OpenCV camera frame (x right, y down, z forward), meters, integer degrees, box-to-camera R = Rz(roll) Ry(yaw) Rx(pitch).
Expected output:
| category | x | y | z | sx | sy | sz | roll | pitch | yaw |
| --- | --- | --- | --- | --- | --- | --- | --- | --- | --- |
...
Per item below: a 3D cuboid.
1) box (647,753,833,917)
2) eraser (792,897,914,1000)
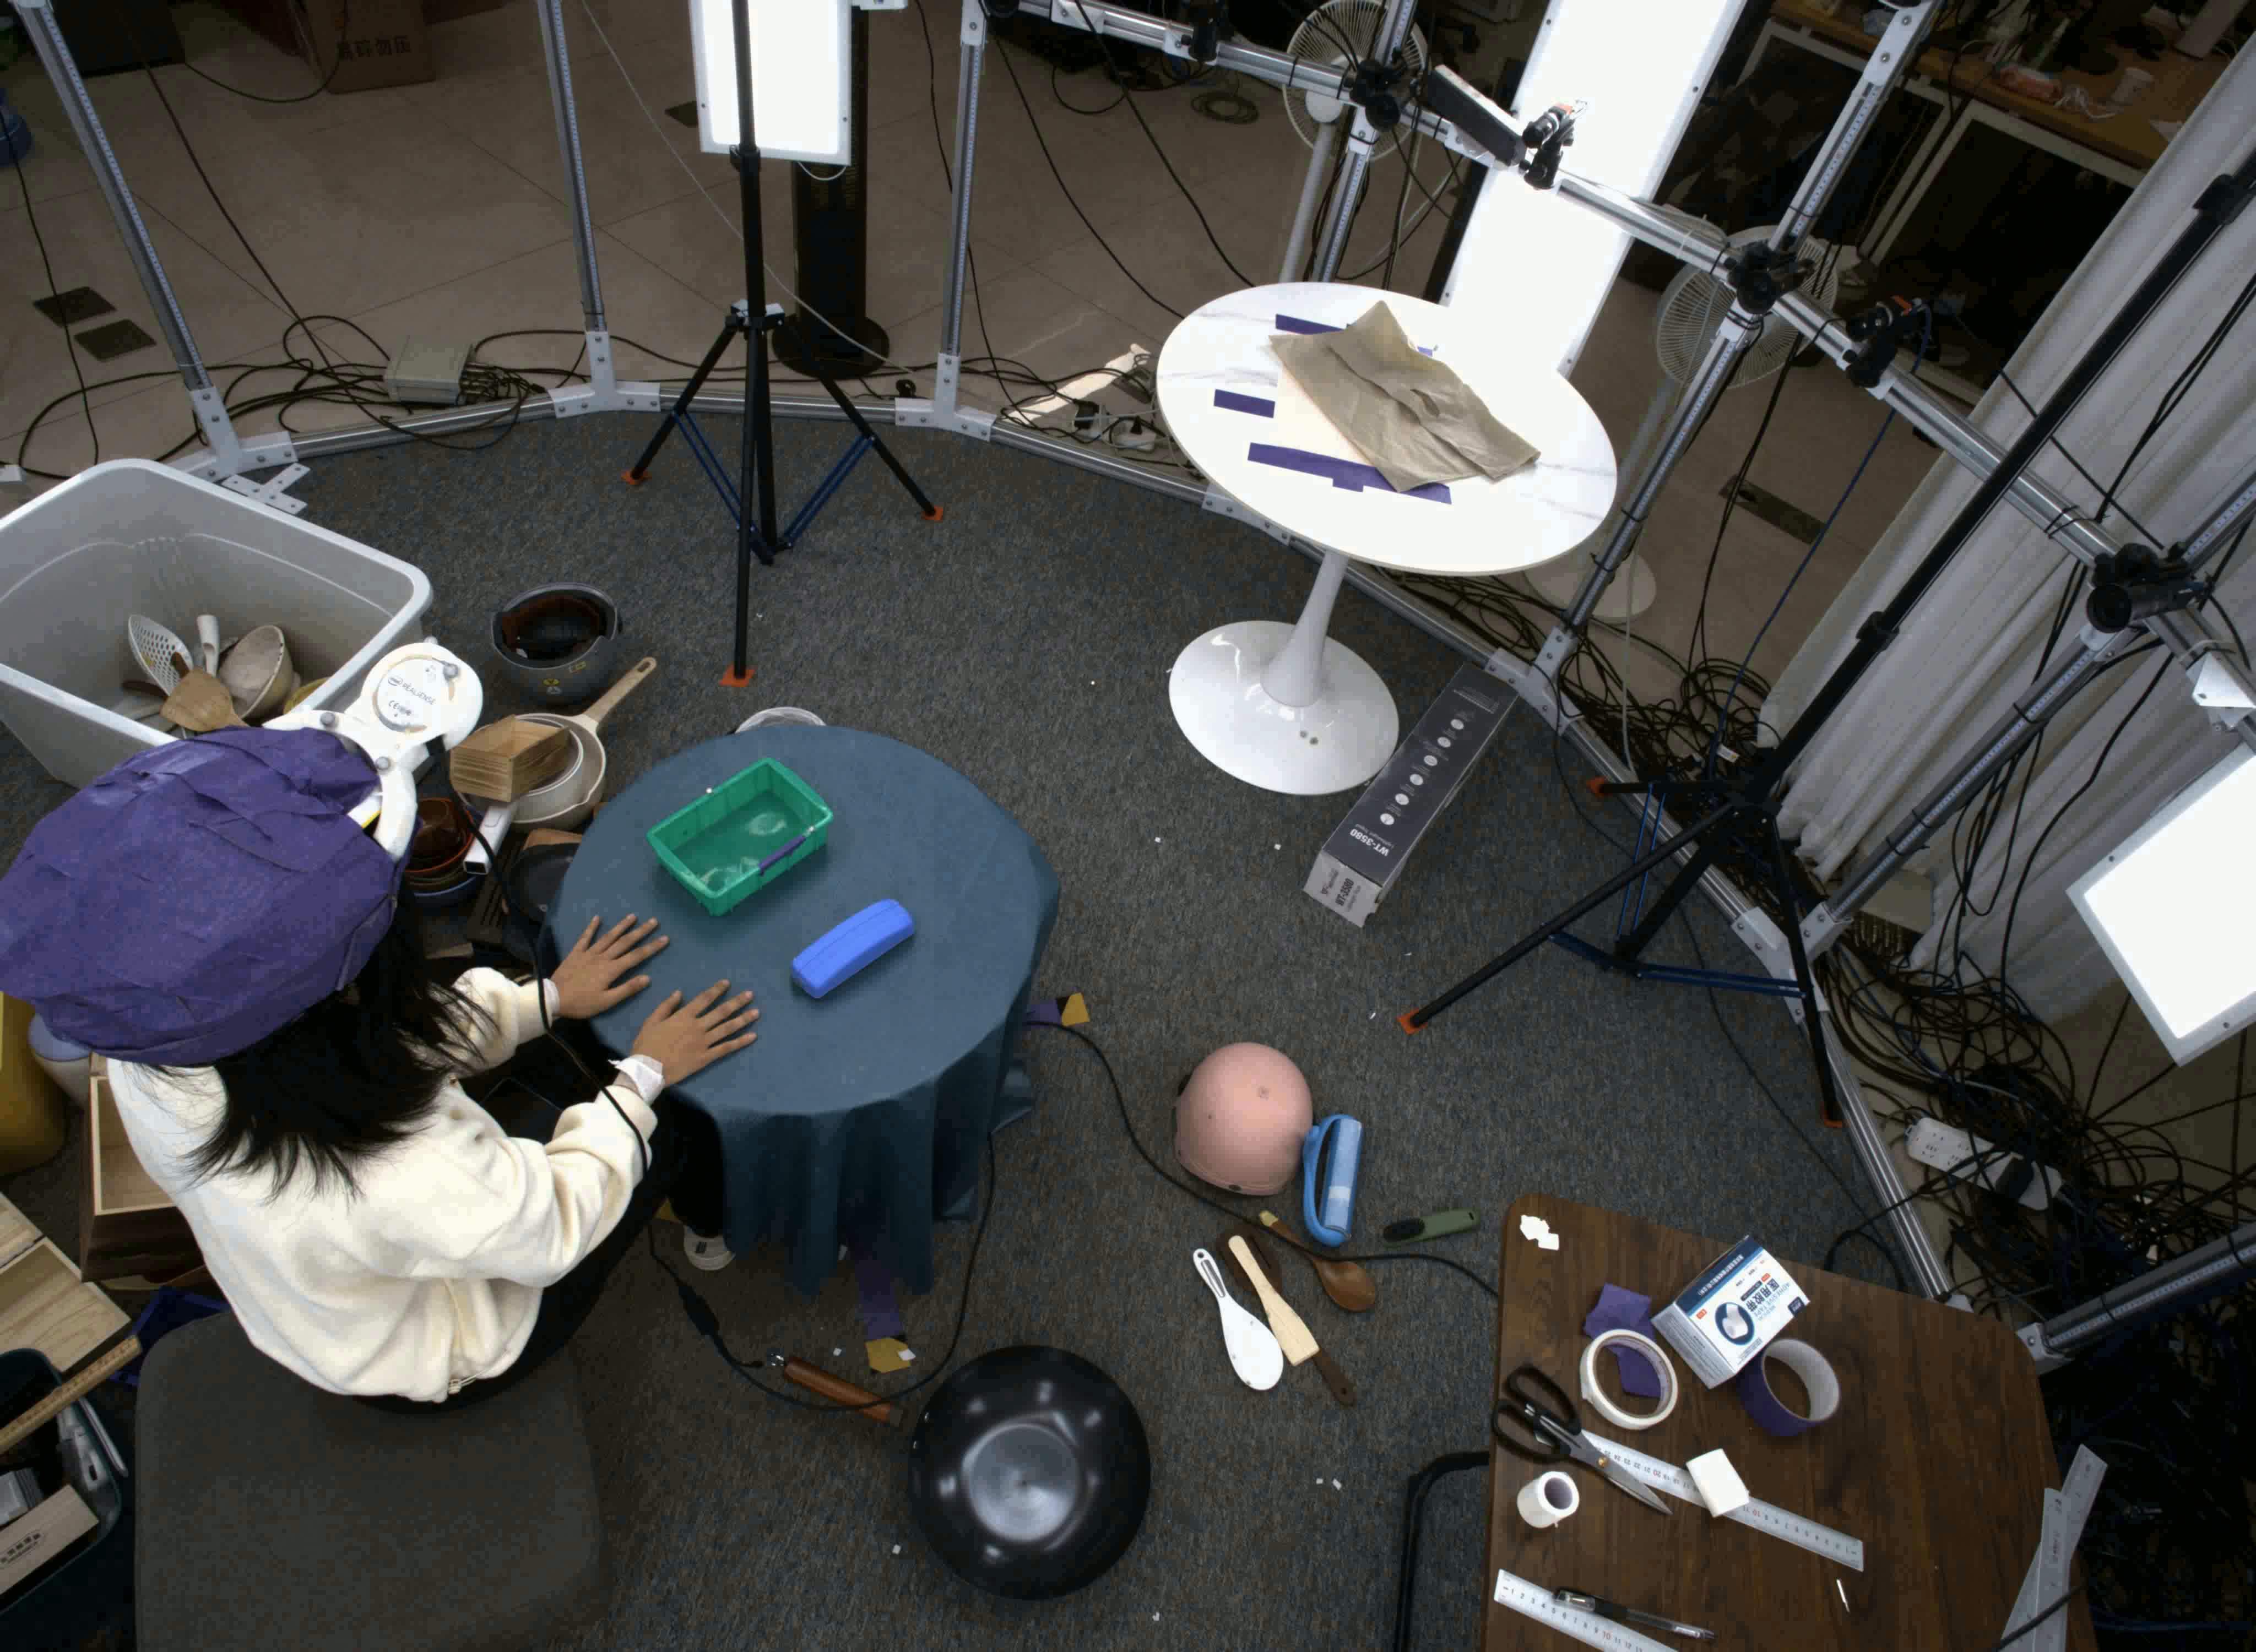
| category | x | y | z | sx | sy | sz | roll | pitch | yaw |
| --- | --- | --- | --- | --- | --- | --- | --- | --- | --- |
| box | -0.494 | 0.012 | 1.652 | 0.136 | 0.066 | 0.210 | 39 | 53 | 13 |
| eraser | -0.338 | 0.145 | 1.603 | 0.052 | 0.048 | 0.162 | 41 | 54 | 18 |
